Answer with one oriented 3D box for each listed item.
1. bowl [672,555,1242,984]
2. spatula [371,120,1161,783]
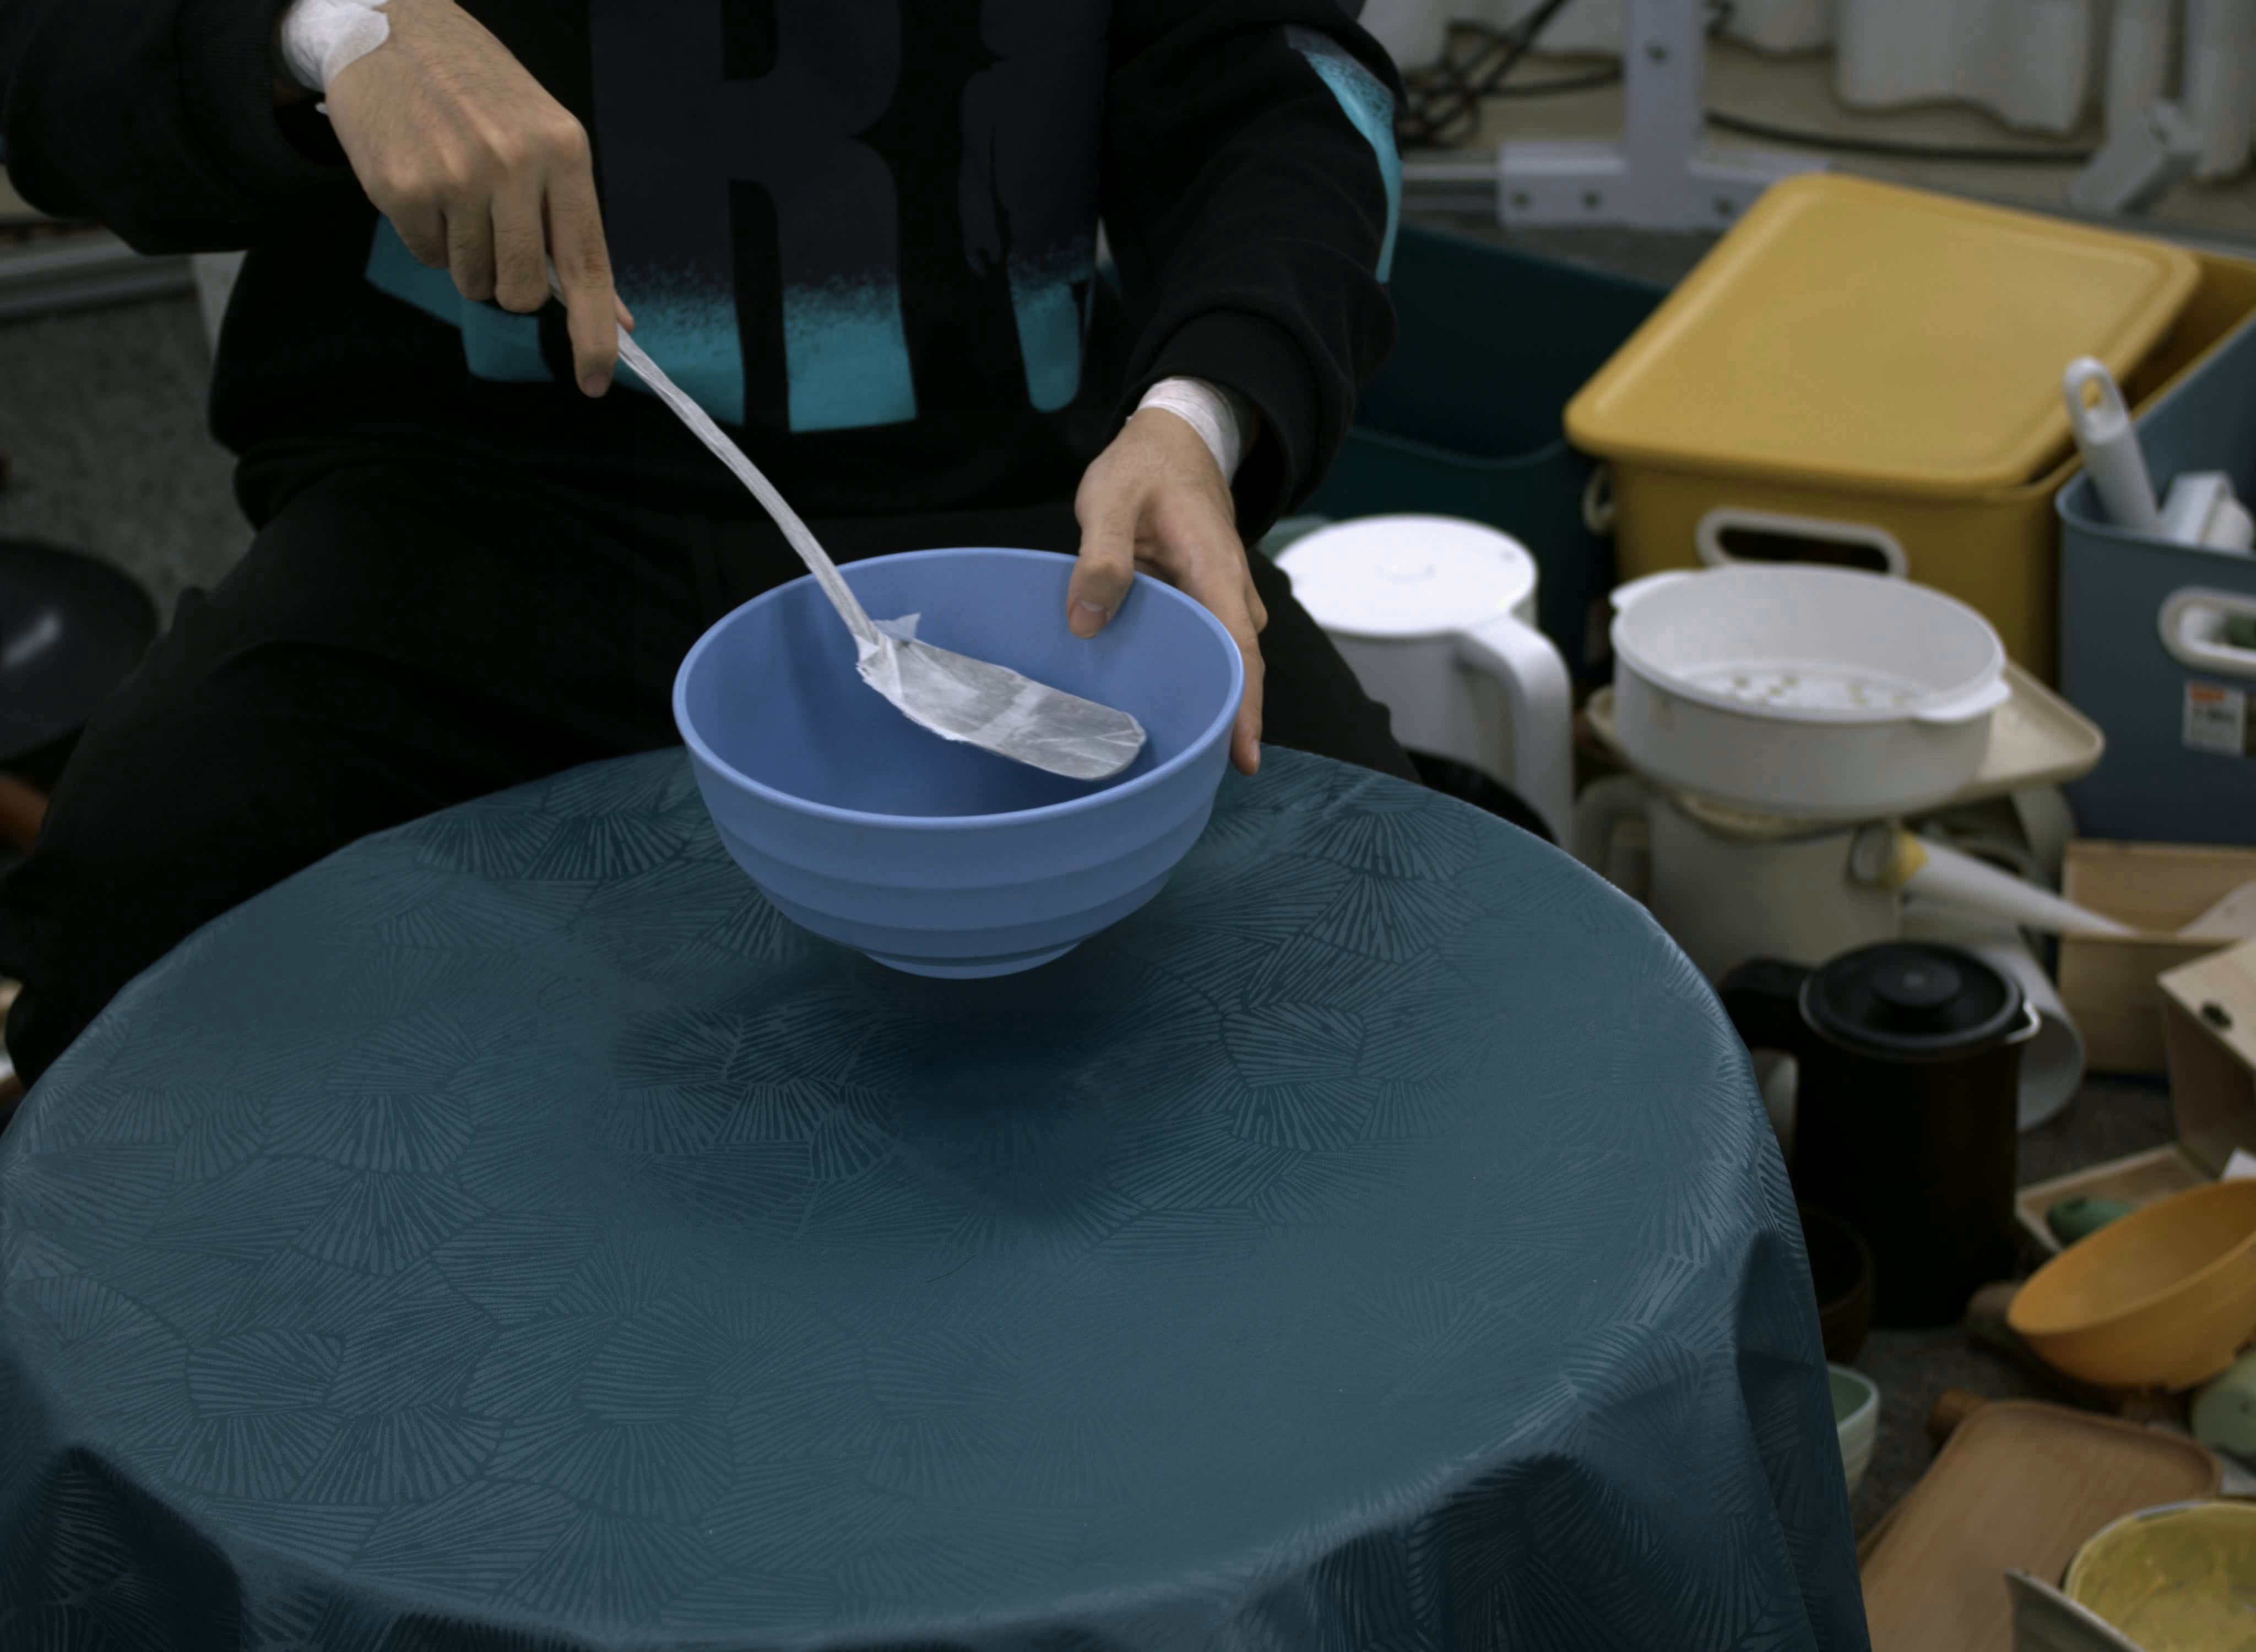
[{"bbox_3d":[-0.056,-0.009,1.944,0.195,0.094,0.199,-2,29,2],"label":"bowl"},{"bbox_3d":[-0.135,-0.134,1.979,0.365,0.044,0.099,46,22,7],"label":"spatula"}]
